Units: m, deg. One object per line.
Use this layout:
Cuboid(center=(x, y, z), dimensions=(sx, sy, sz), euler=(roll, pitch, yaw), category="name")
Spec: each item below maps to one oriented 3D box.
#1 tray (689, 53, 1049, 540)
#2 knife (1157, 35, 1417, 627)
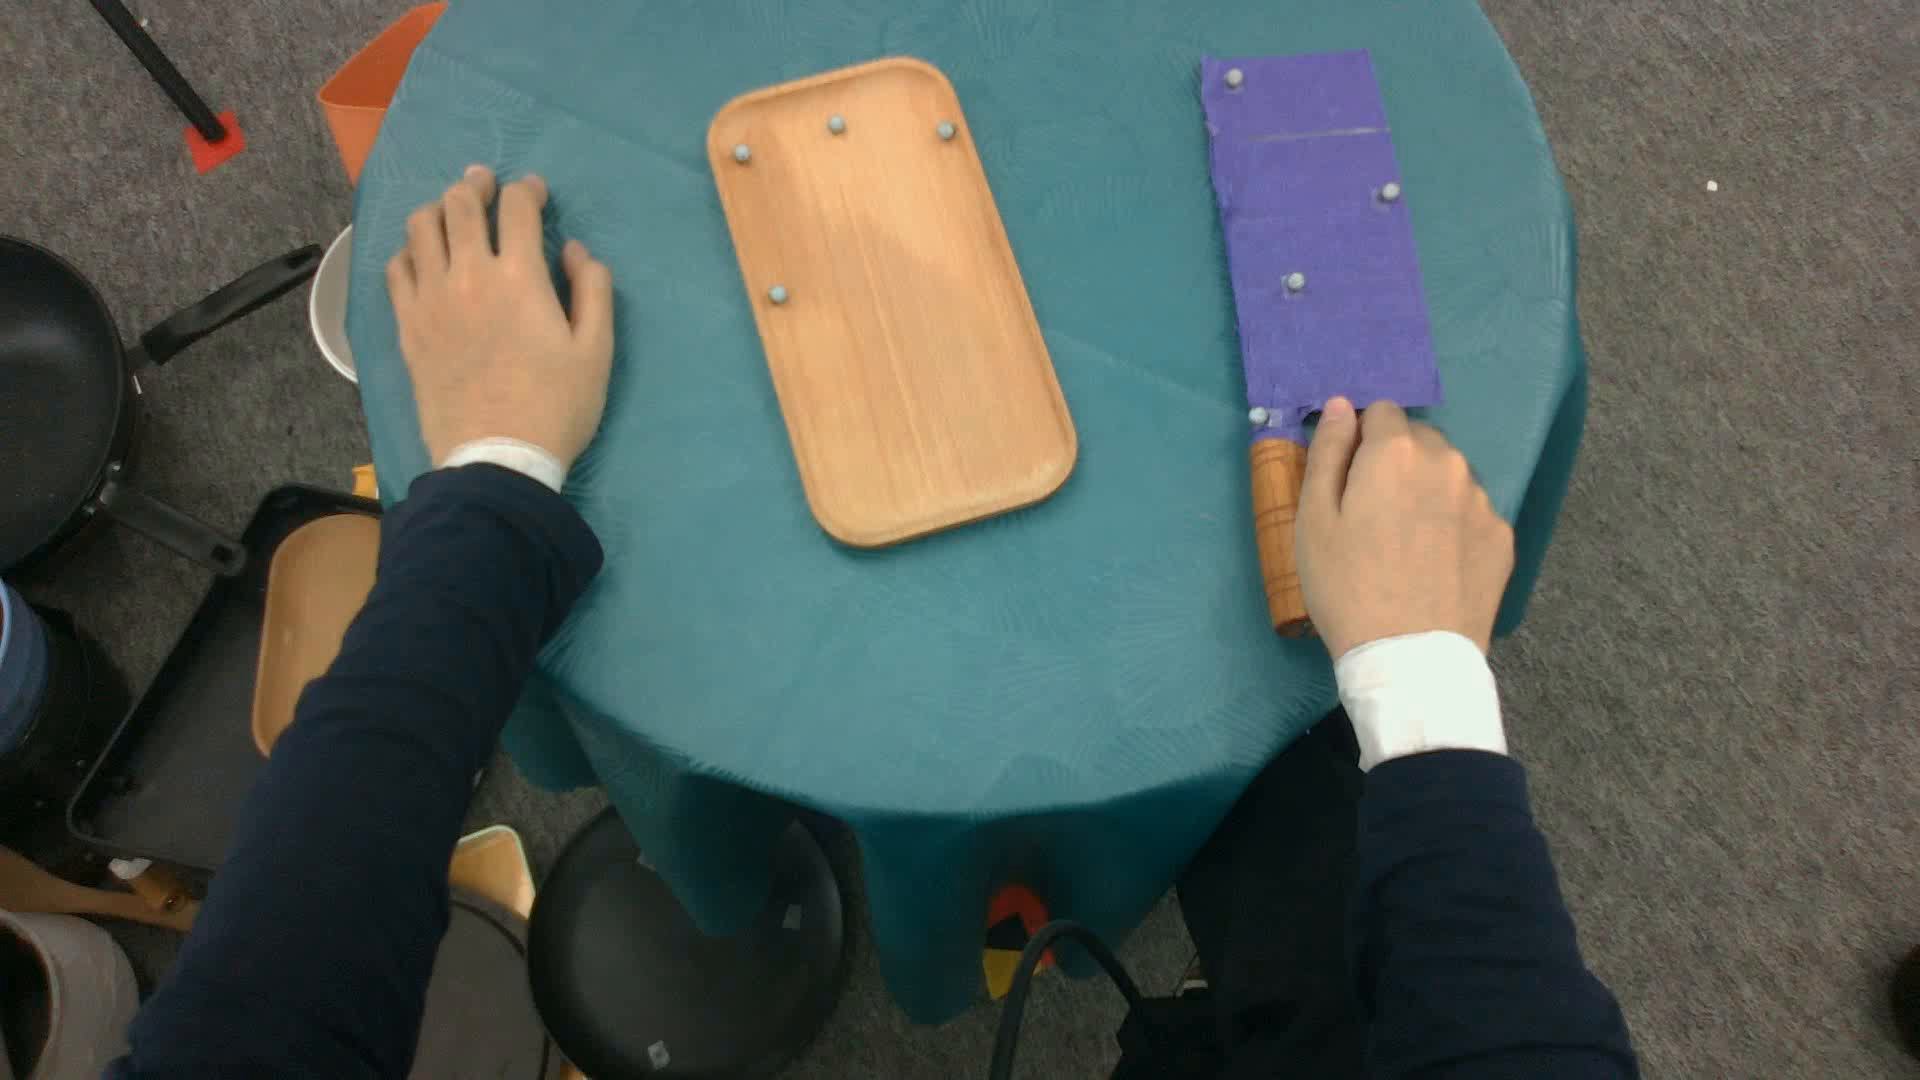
Cuboid(center=(-0.047, -0.122, 0.660), dimensions=(0.130, 0.023, 0.251), euler=(-14, 71, -3), category="tray")
Cuboid(center=(0.165, -0.115, 0.654), dimensions=(0.104, 0.032, 0.316), euler=(-4, 69, -2), category="knife")
